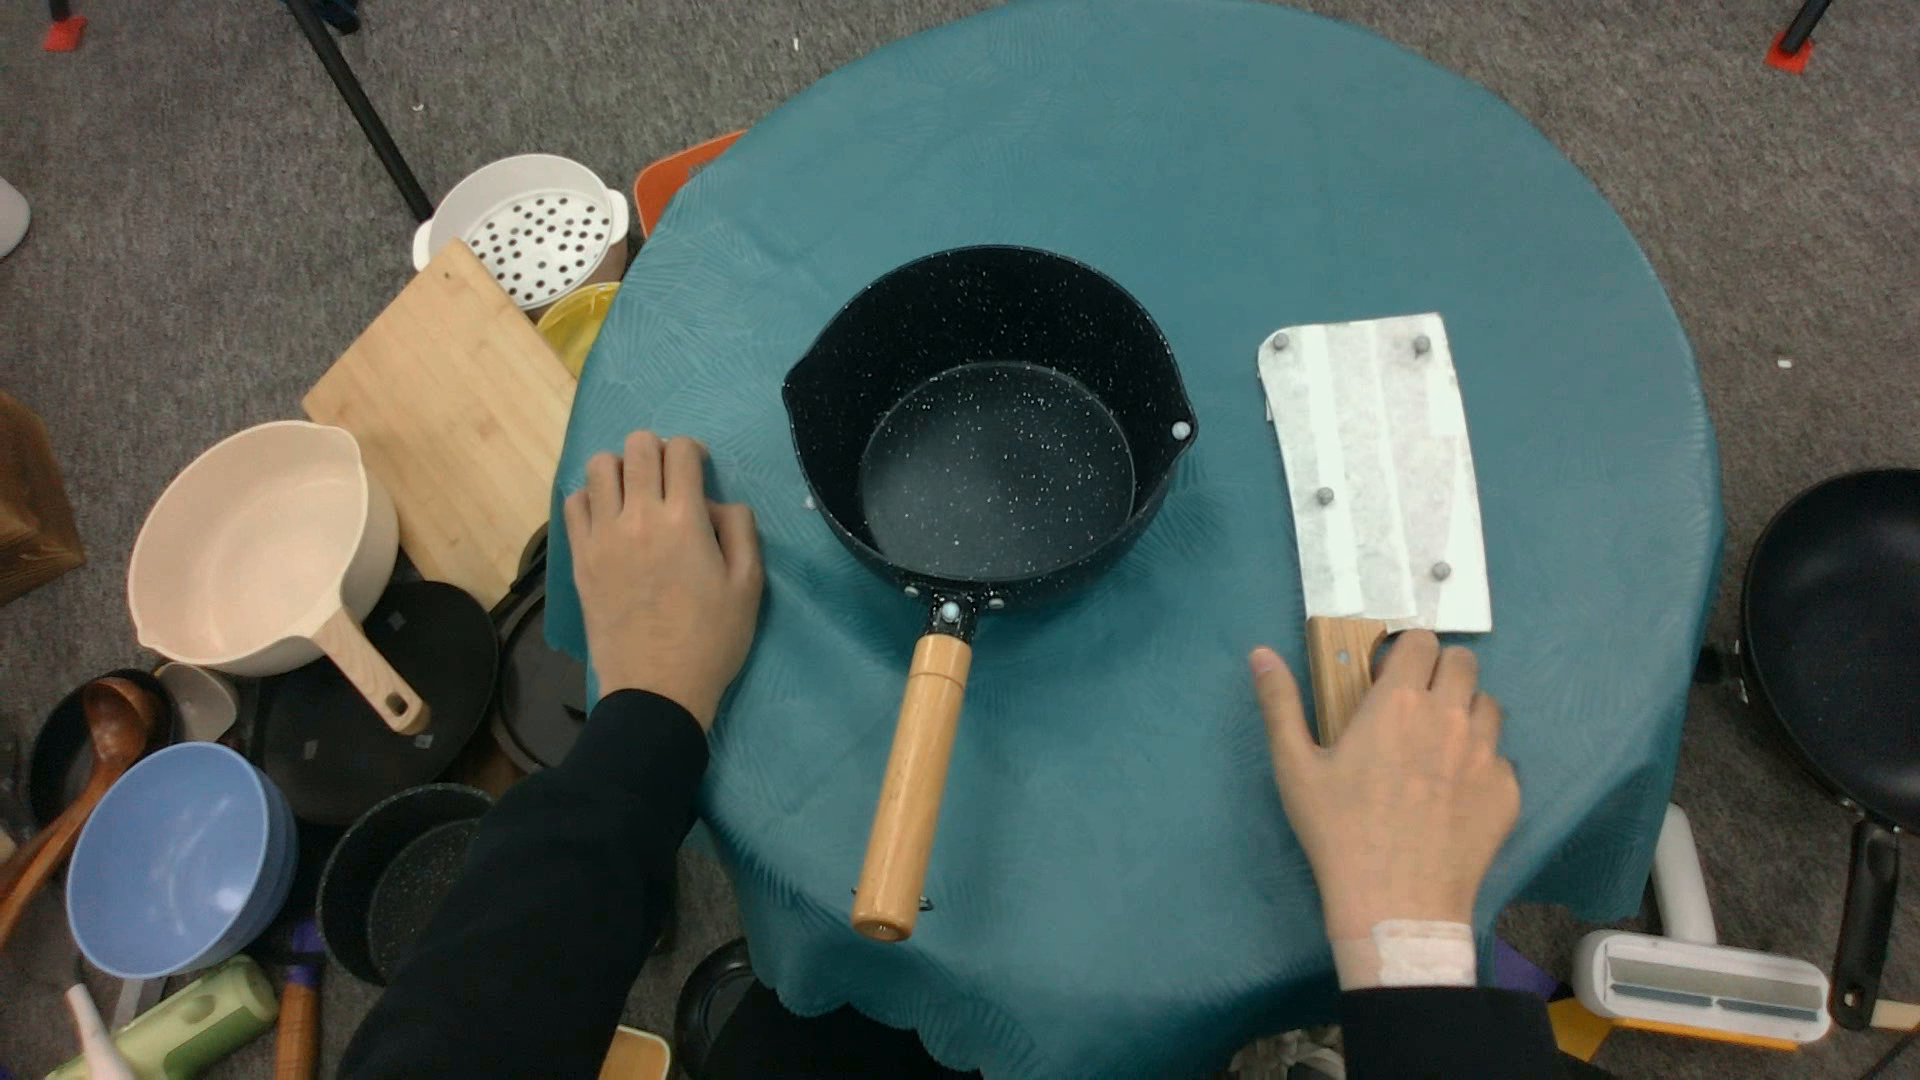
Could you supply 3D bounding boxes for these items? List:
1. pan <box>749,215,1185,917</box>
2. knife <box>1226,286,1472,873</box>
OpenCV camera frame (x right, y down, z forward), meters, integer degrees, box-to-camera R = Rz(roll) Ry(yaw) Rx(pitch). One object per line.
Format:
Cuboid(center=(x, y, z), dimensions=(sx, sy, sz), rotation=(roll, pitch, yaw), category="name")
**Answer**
Cuboid(center=(-0.006, 0.008, 0.640), dimensions=(0.207, 0.108, 0.344), rotation=(5, 65, 6), category="pan")
Cuboid(center=(0.191, 0.004, 0.675), dimensions=(0.114, 0.021, 0.316), rotation=(2, 63, 5), category="knife")
